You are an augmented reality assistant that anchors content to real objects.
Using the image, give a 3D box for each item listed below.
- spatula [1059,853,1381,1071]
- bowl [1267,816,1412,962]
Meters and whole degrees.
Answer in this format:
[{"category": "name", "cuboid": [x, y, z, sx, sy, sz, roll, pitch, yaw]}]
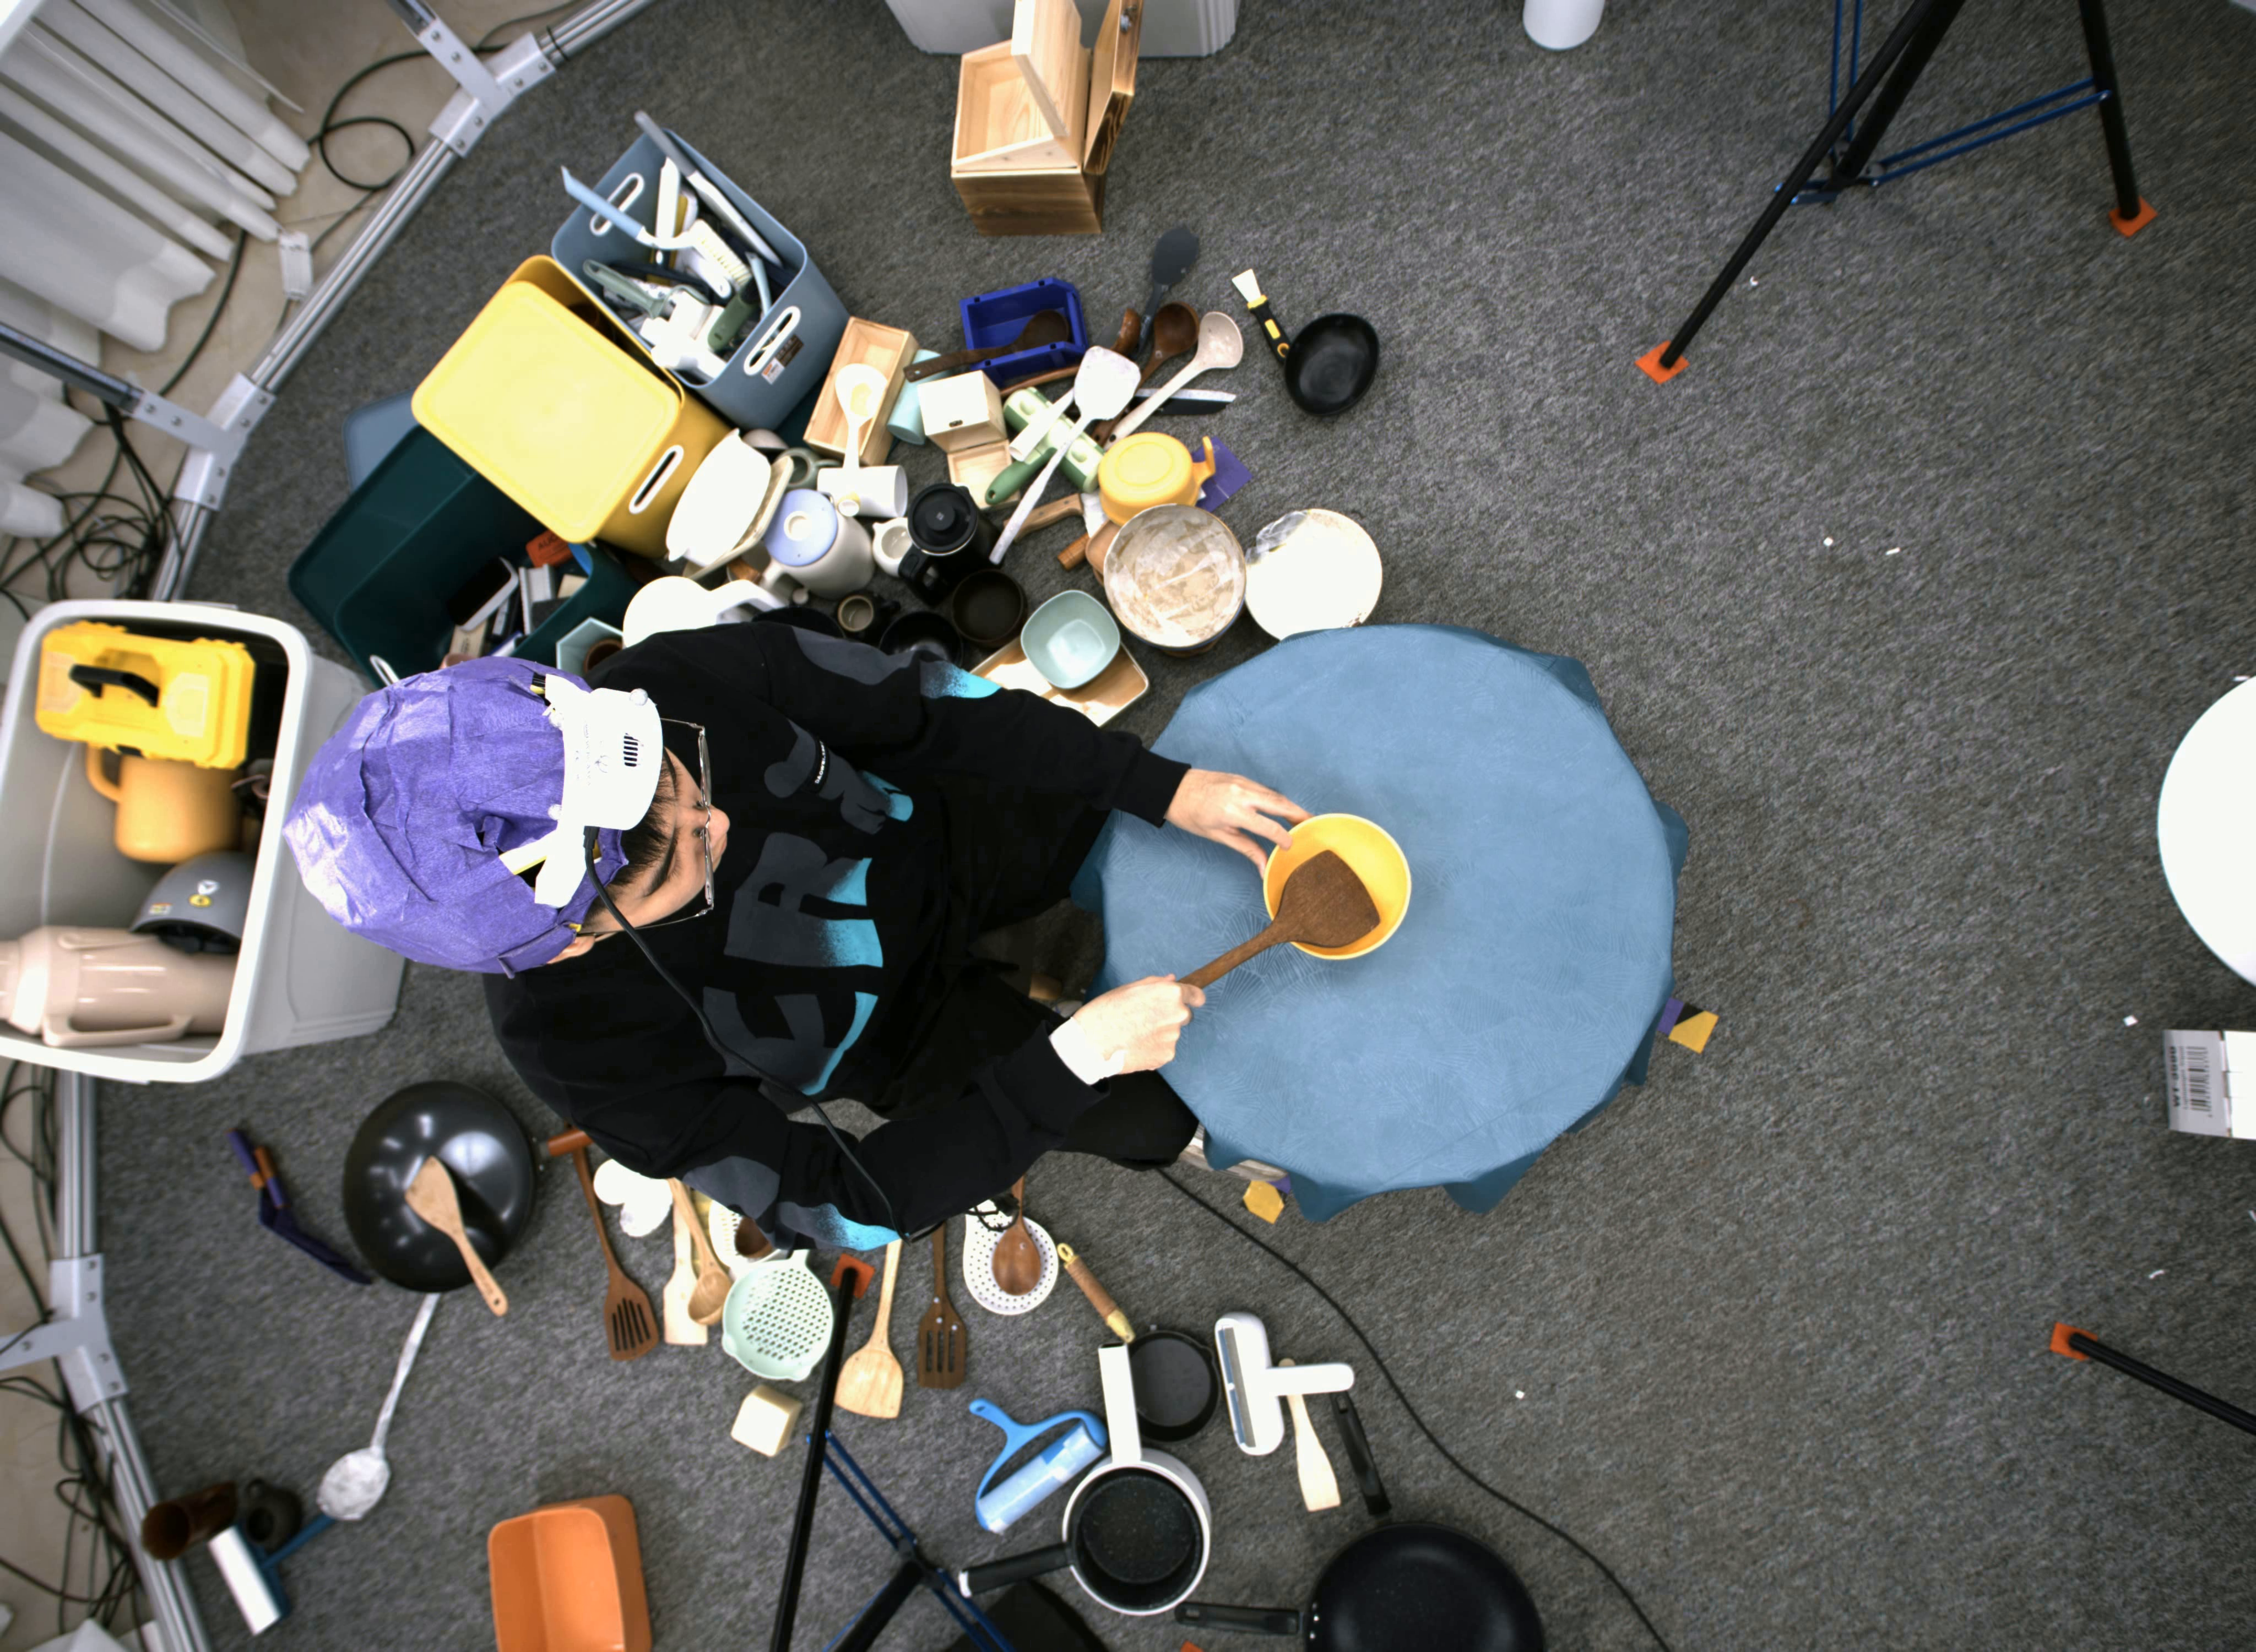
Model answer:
[{"category": "spatula", "cuboid": [0.090, 0.132, 1.297, 0.380, 0.016, 0.095, -27, 78, -31]}, {"category": "bowl", "cuboid": [0.213, 0.062, 1.402, 0.146, 0.060, 0.145, 0, 92, 8]}]
